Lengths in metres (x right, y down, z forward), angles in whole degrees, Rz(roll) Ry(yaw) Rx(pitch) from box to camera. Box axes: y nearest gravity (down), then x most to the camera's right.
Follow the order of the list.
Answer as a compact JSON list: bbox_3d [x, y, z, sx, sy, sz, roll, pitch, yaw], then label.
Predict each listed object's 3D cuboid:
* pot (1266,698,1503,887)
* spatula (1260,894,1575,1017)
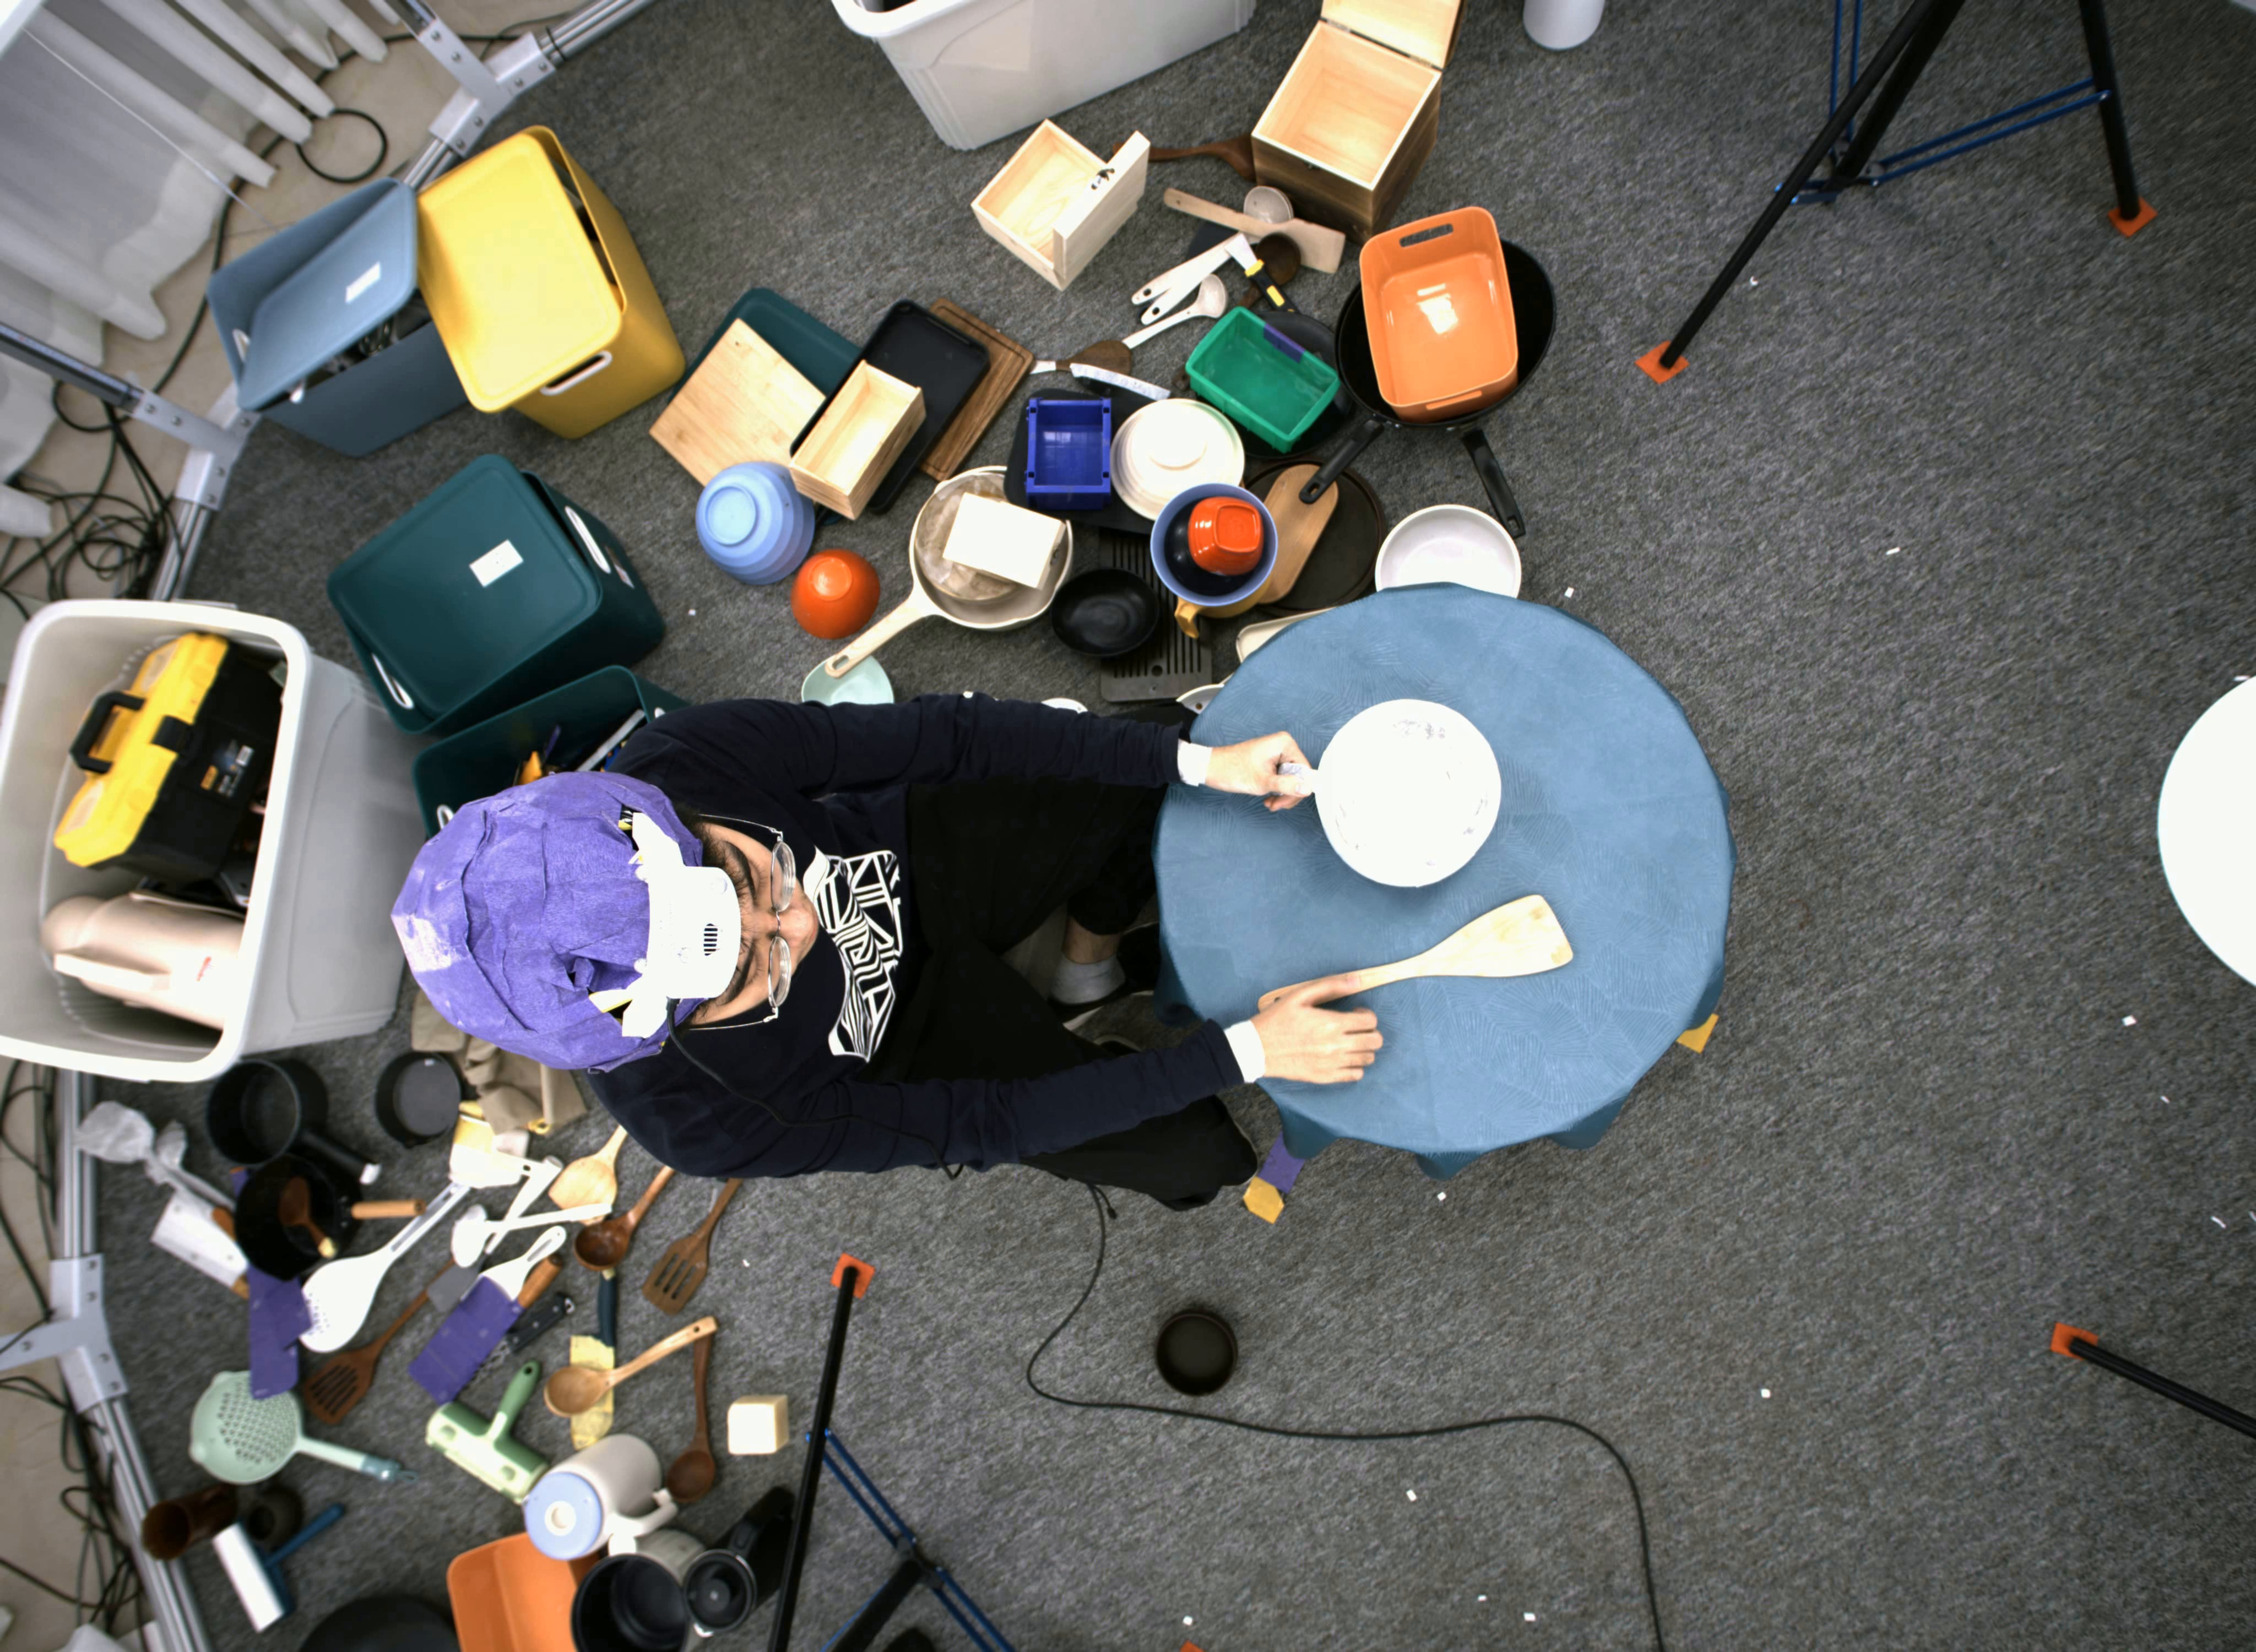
[{"bbox_3d":[0.254,-0.034,1.396,0.234,0.137,0.178,7,86,9],"label":"pot"},{"bbox_3d":[0.295,0.145,1.443,0.329,0.016,0.079,-16,83,10],"label":"spatula"}]
